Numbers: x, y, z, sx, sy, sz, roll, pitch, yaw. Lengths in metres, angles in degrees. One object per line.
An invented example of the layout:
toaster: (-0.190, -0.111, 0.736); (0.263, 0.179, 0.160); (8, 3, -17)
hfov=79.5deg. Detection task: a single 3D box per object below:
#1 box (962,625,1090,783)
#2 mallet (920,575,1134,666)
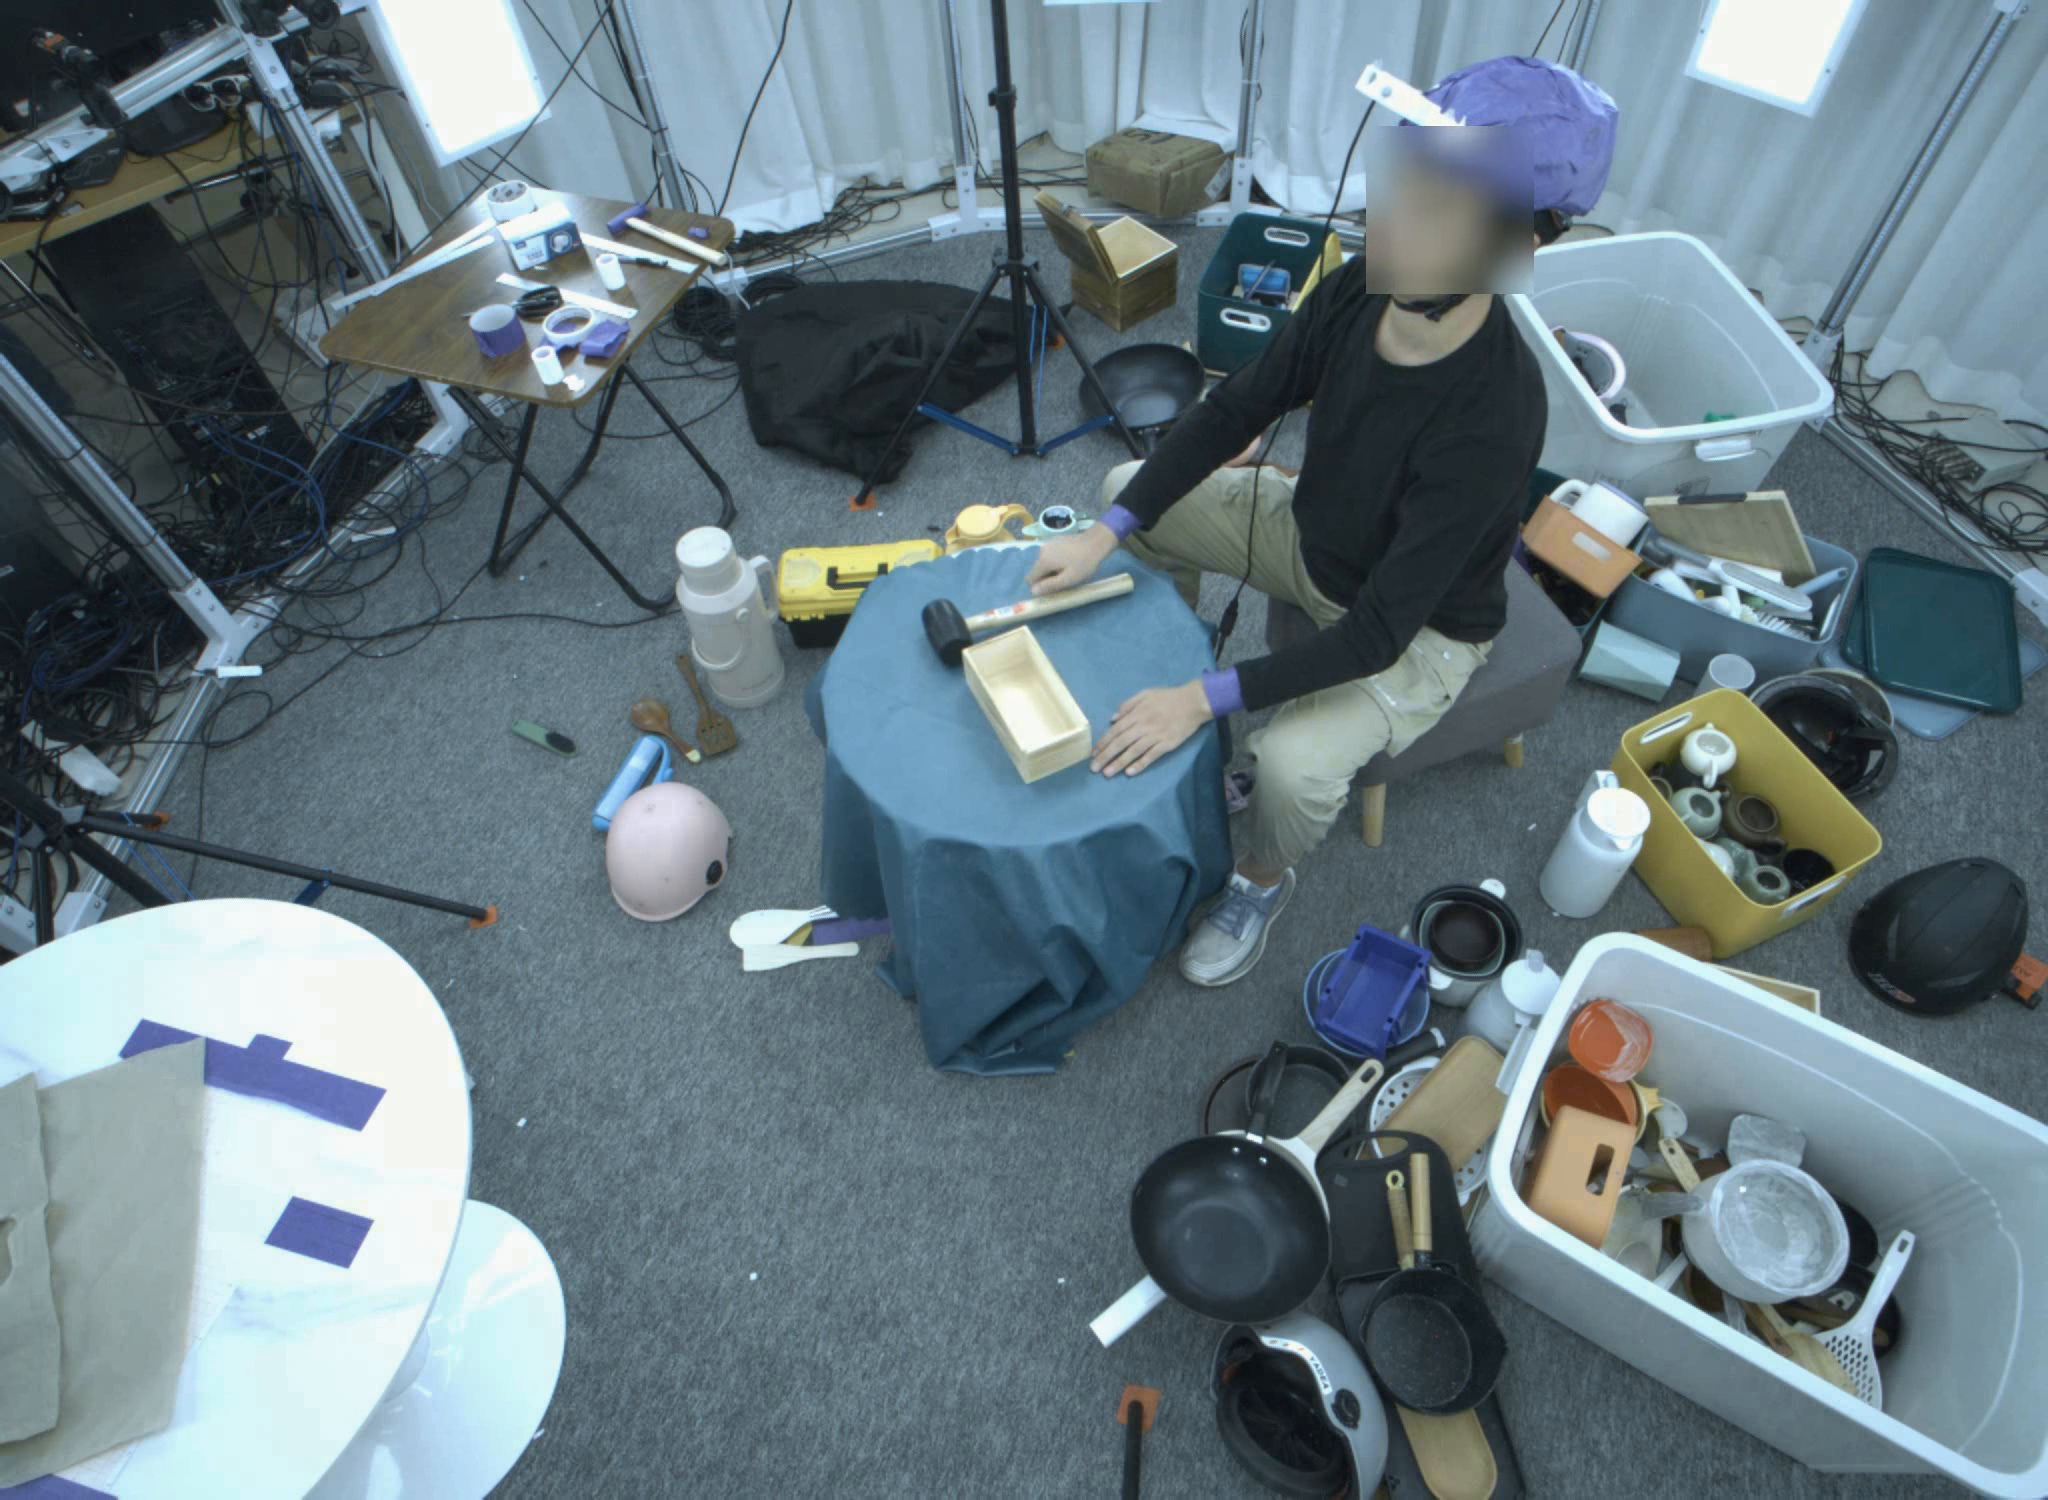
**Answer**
box: (0.002, -0.069, 1.783); (0.108, 0.081, 0.207); (-22, 57, -14)
mallet: (0.008, -0.224, 1.906); (0.341, 0.065, 0.100); (-18, 55, -11)
